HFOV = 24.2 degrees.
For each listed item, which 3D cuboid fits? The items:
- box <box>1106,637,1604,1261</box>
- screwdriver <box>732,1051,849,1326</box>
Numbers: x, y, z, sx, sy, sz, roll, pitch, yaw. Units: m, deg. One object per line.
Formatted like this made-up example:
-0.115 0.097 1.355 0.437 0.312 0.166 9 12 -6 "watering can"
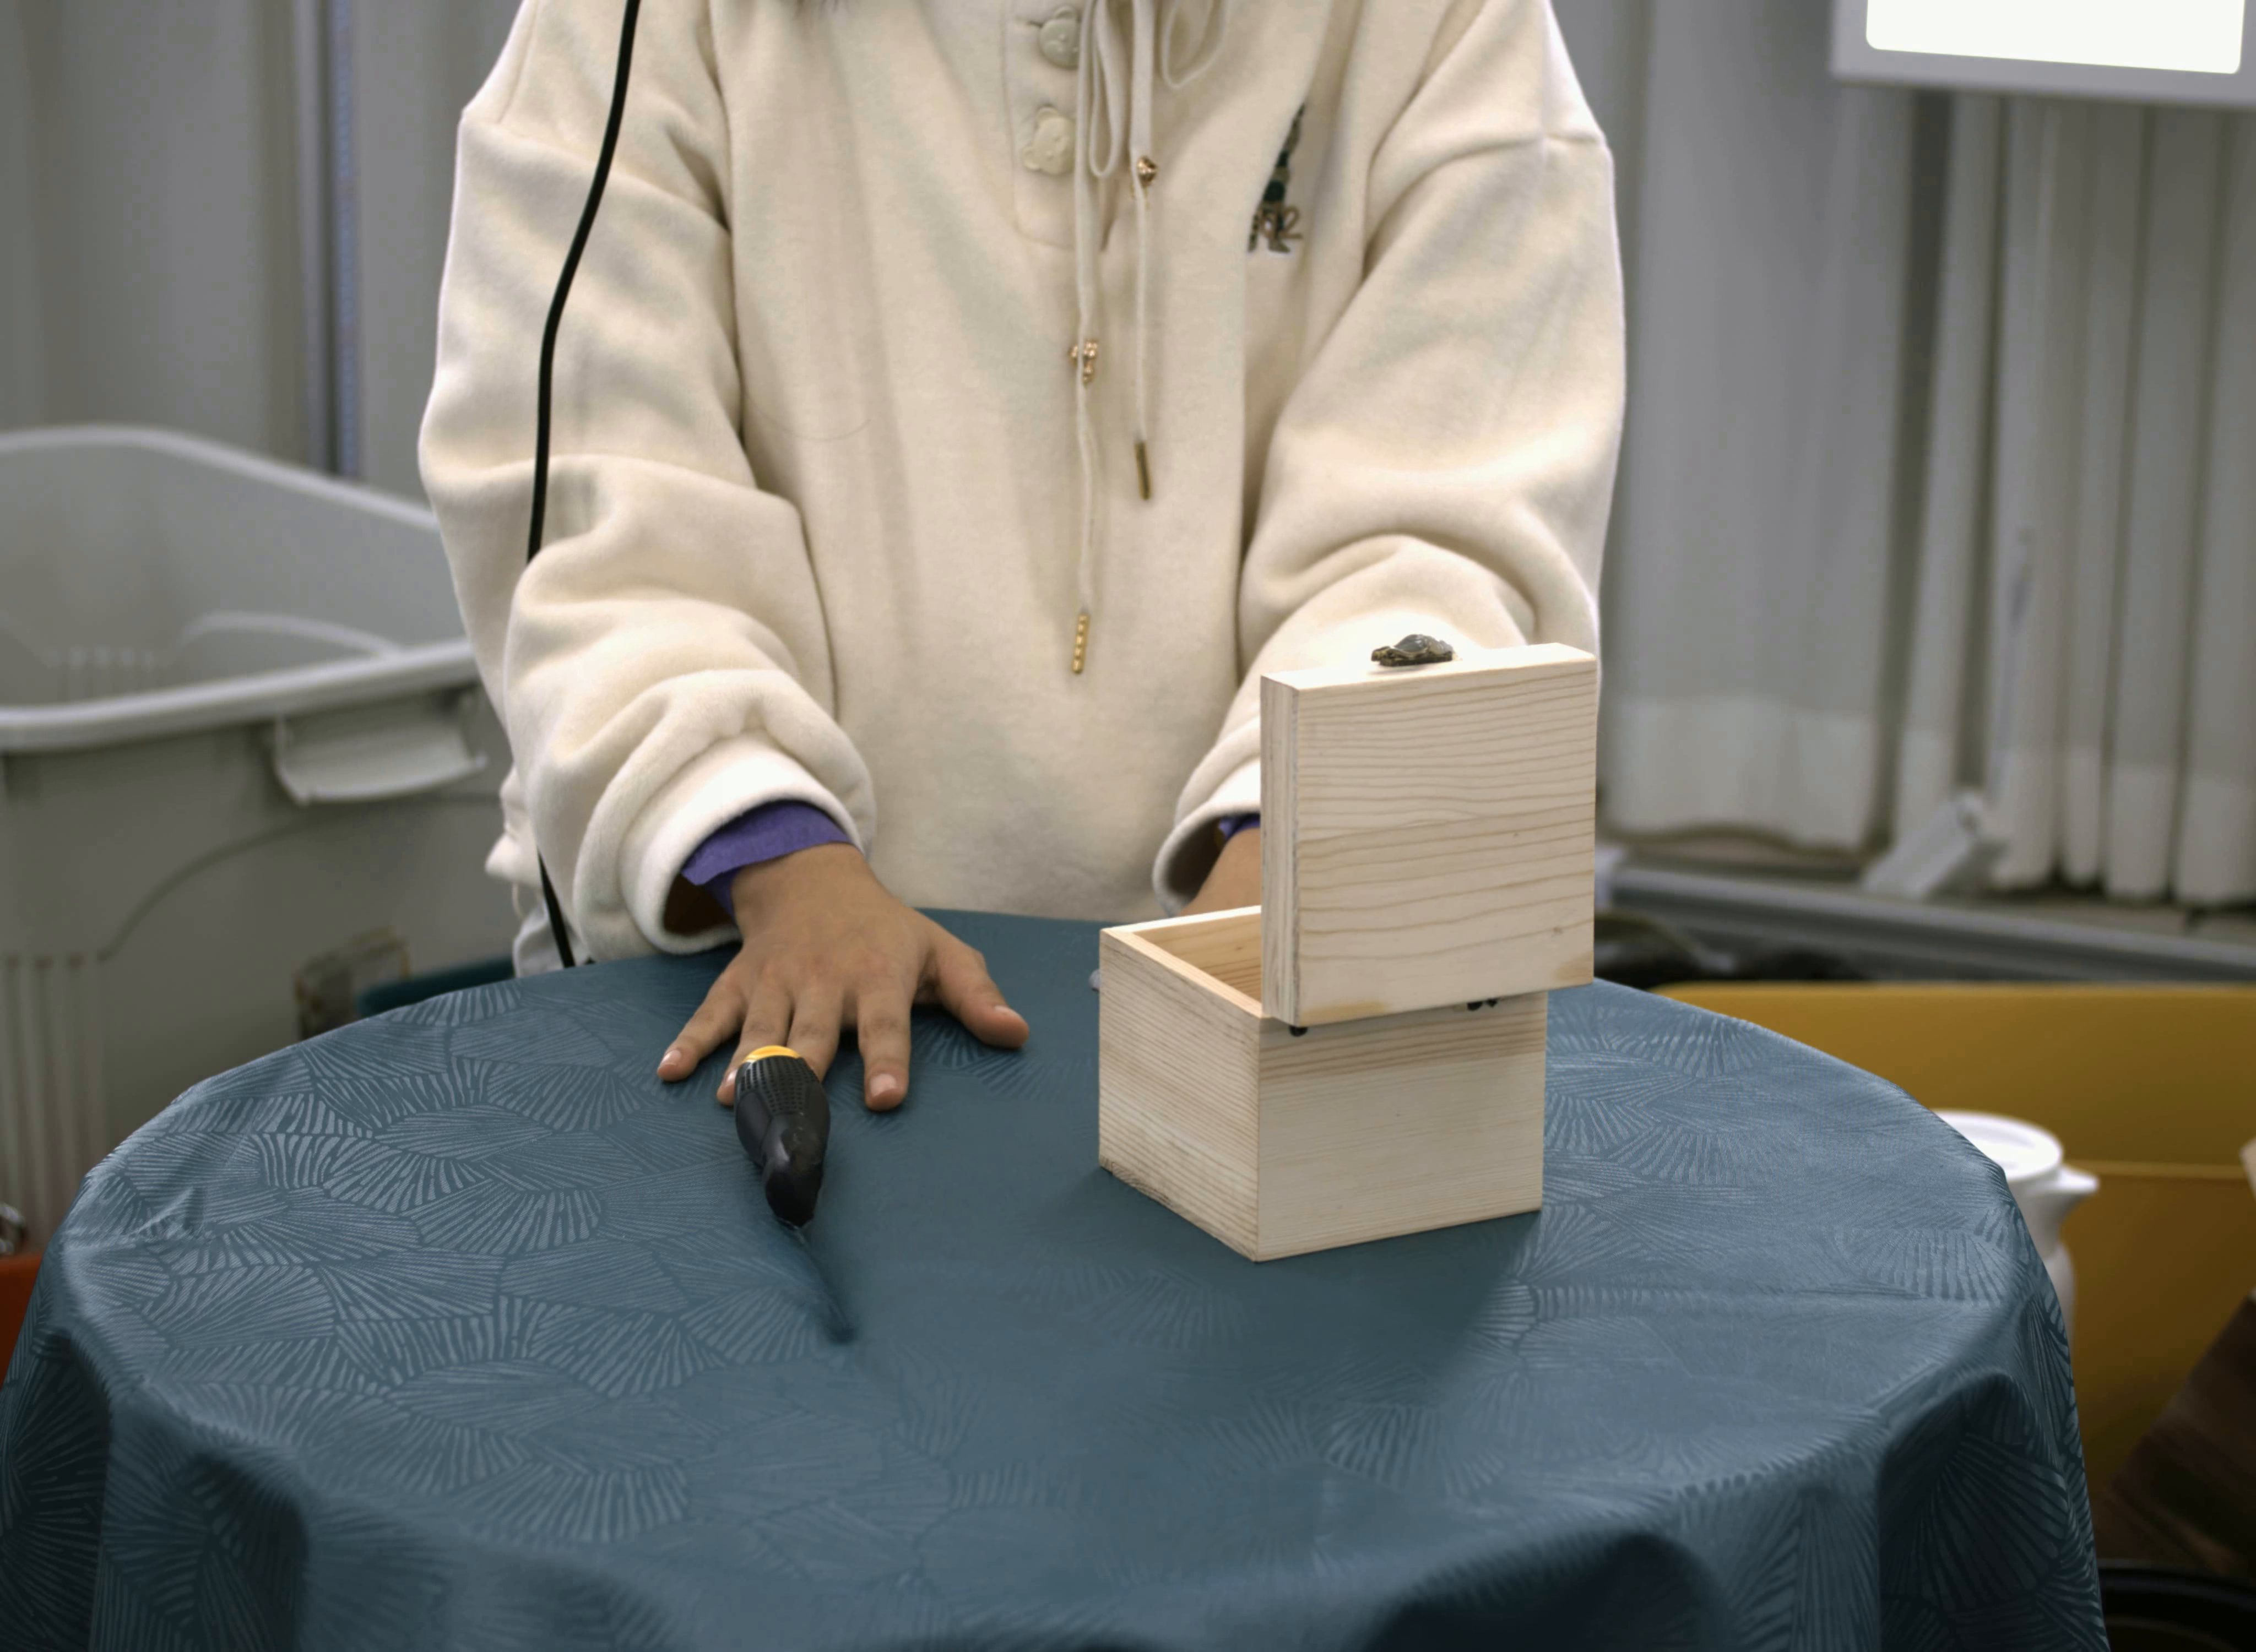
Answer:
0.065 0.025 1.592 0.103 0.186 0.132 -9 19 -28 "box"
-0.102 0.111 1.583 0.031 0.032 0.196 -1 18 -6 "screwdriver"
